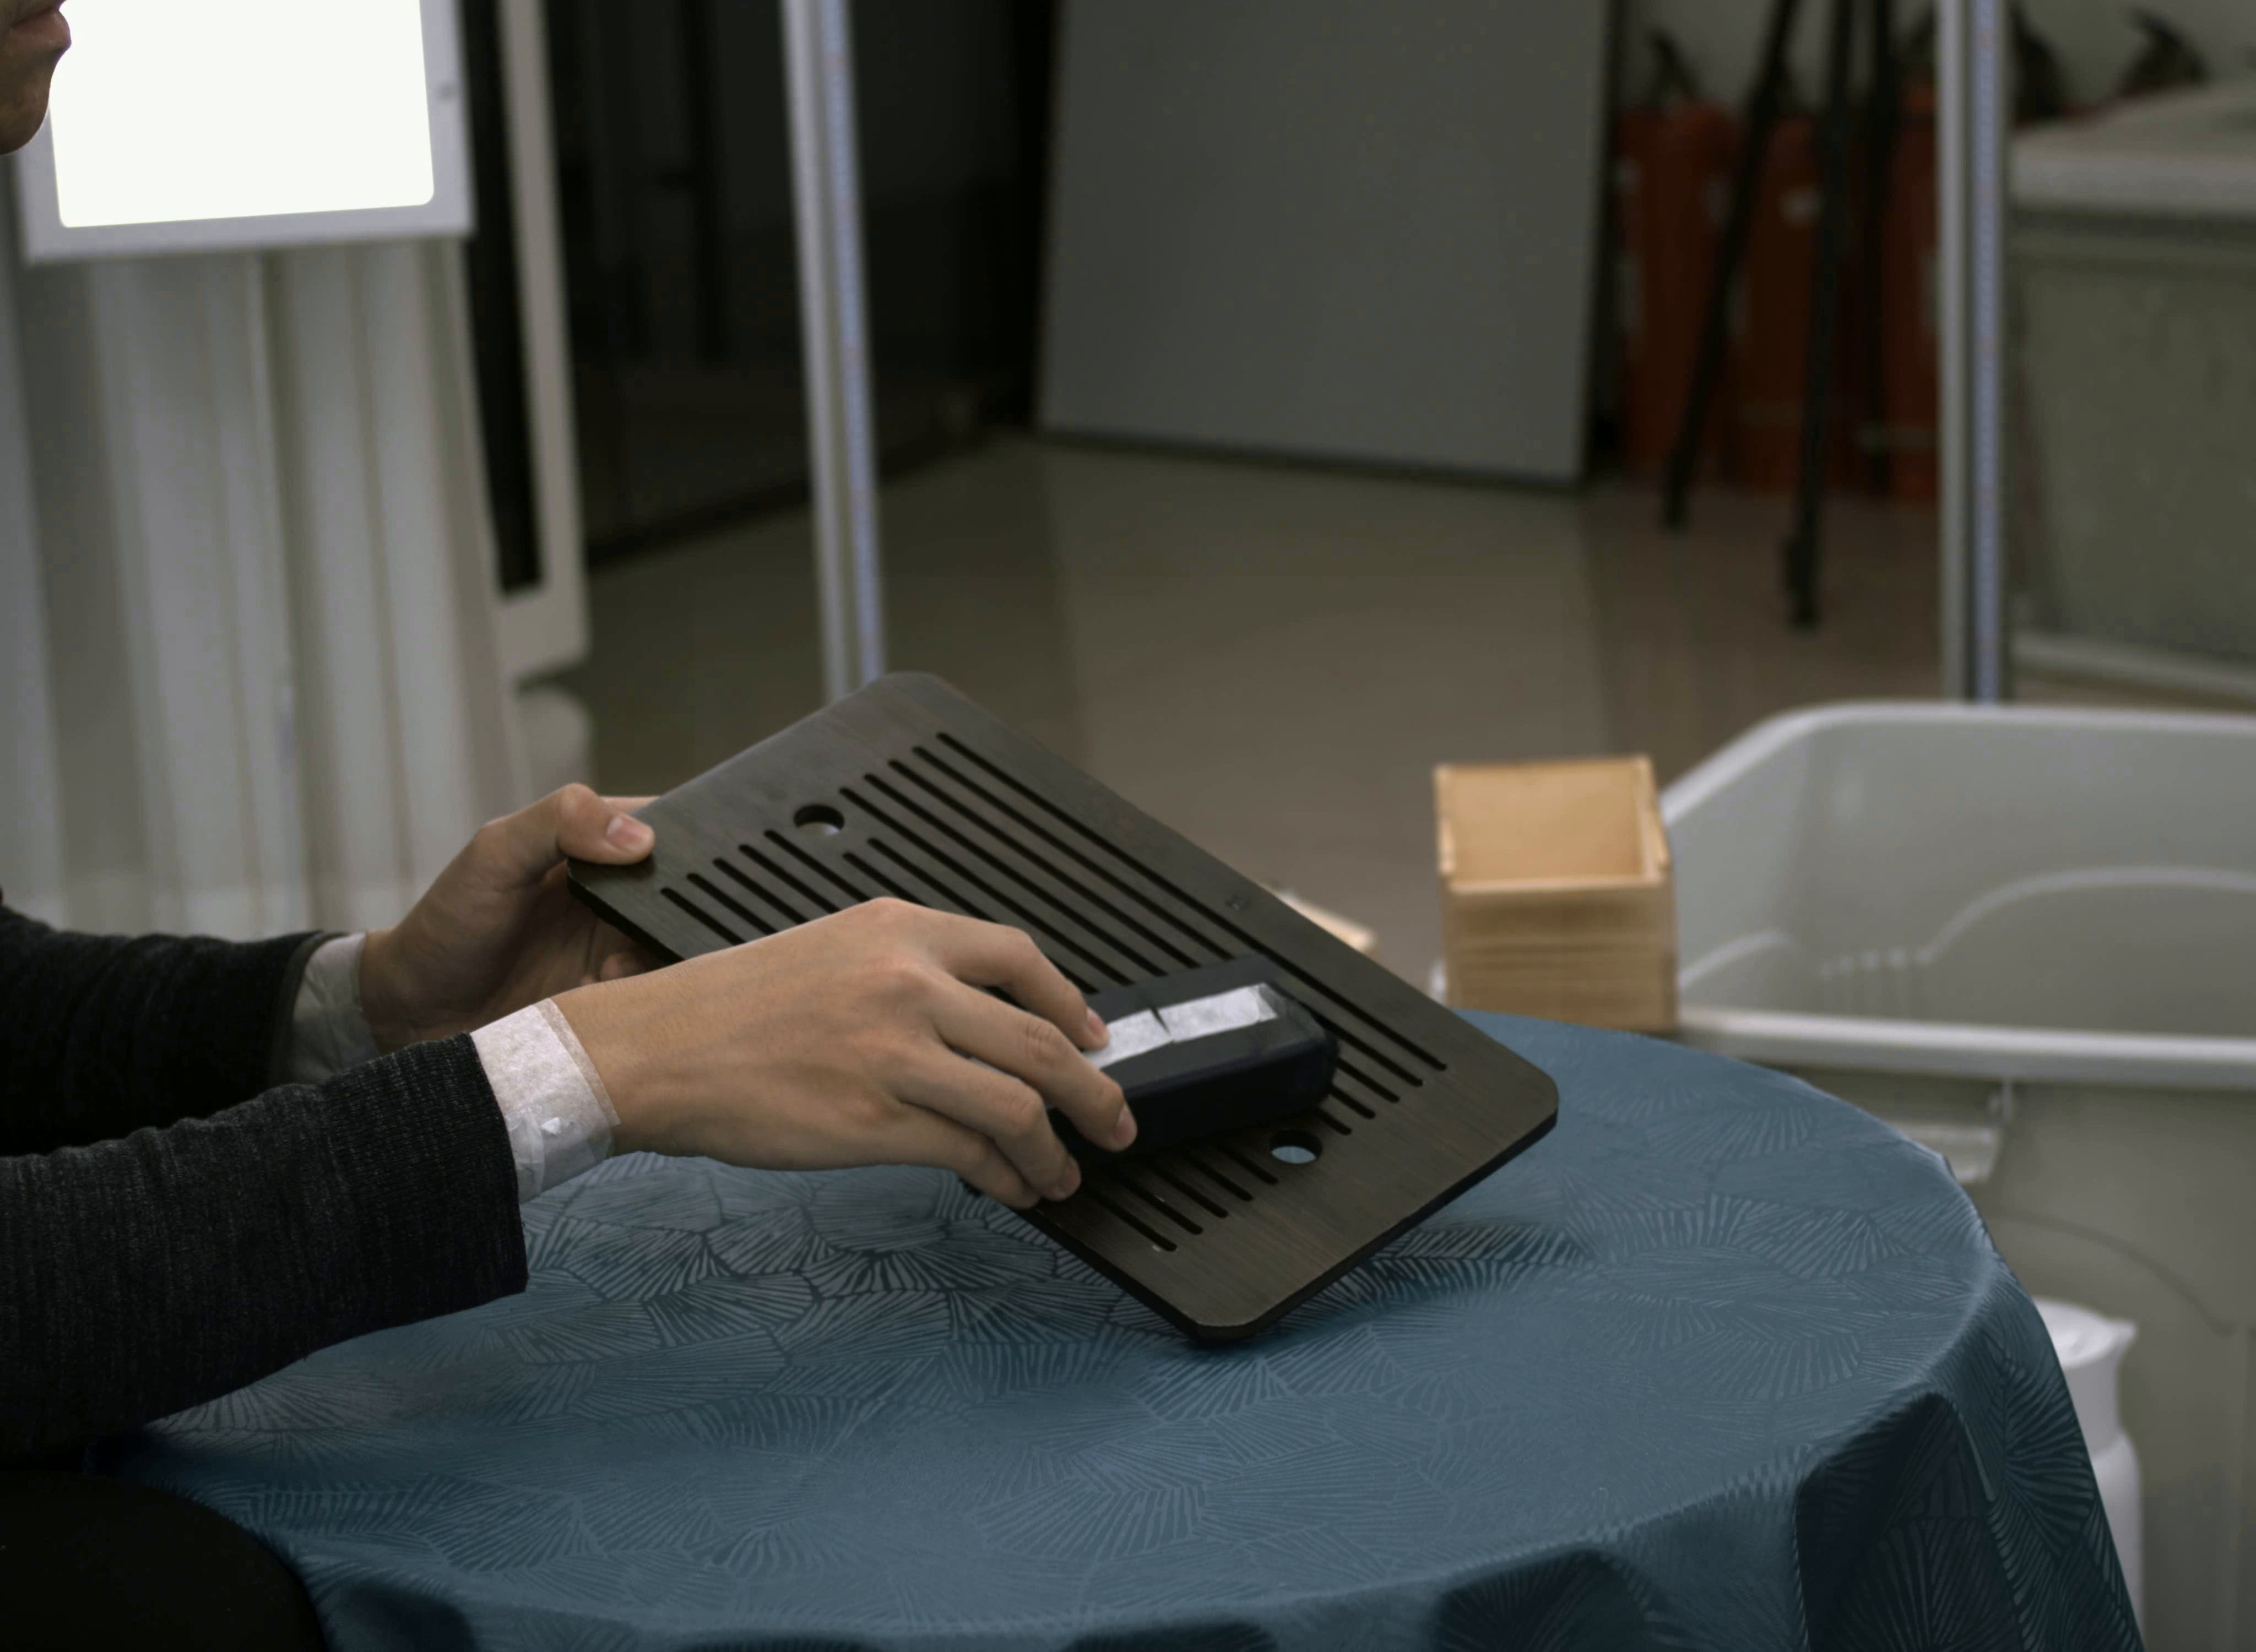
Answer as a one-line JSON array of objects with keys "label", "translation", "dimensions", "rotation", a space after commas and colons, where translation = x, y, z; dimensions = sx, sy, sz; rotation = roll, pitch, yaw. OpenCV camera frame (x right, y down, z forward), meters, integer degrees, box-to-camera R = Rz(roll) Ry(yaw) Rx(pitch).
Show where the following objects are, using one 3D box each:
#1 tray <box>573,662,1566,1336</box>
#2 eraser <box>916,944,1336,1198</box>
[{"label": "tray", "translation": [-0.022, 0.051, 1.738], "dimensions": [0.308, 0.019, 0.167], "rotation": [33, 47, 32]}, {"label": "eraser", "translation": [0.000, 0.075, 1.677], "dimensions": [0.123, 0.030, 0.054], "rotation": [-16, 40, -21]}]
